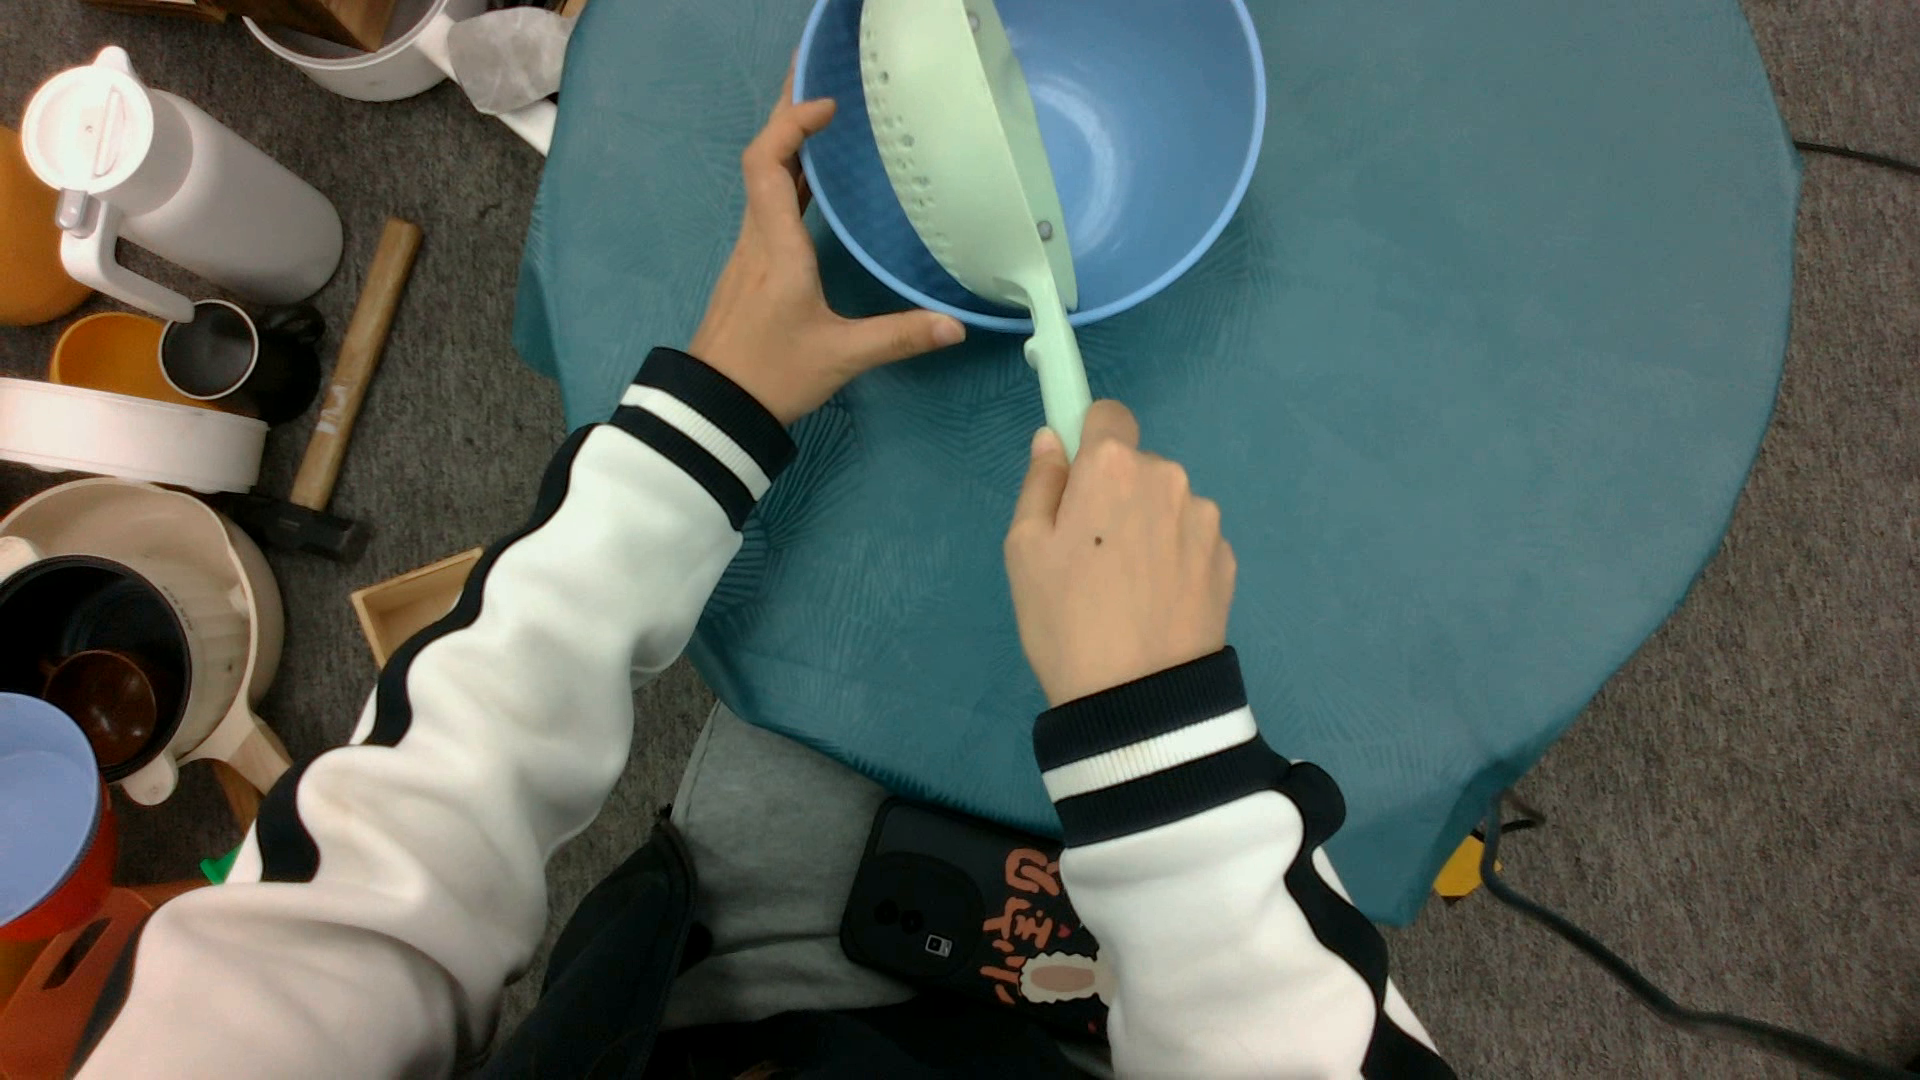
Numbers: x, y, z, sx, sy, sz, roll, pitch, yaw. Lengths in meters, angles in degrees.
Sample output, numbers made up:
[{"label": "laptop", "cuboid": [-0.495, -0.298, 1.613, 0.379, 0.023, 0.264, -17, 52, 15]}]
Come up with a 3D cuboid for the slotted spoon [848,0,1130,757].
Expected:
[{"label": "slotted spoon", "cuboid": [0.021, -0.093, 0.536, 0.075, 0.169, 0.360, -23, 63, 9]}]

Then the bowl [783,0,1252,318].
[{"label": "bowl", "cuboid": [0.025, -0.186, 0.620, 0.196, 0.095, 0.196, 0, 84, 1]}]
